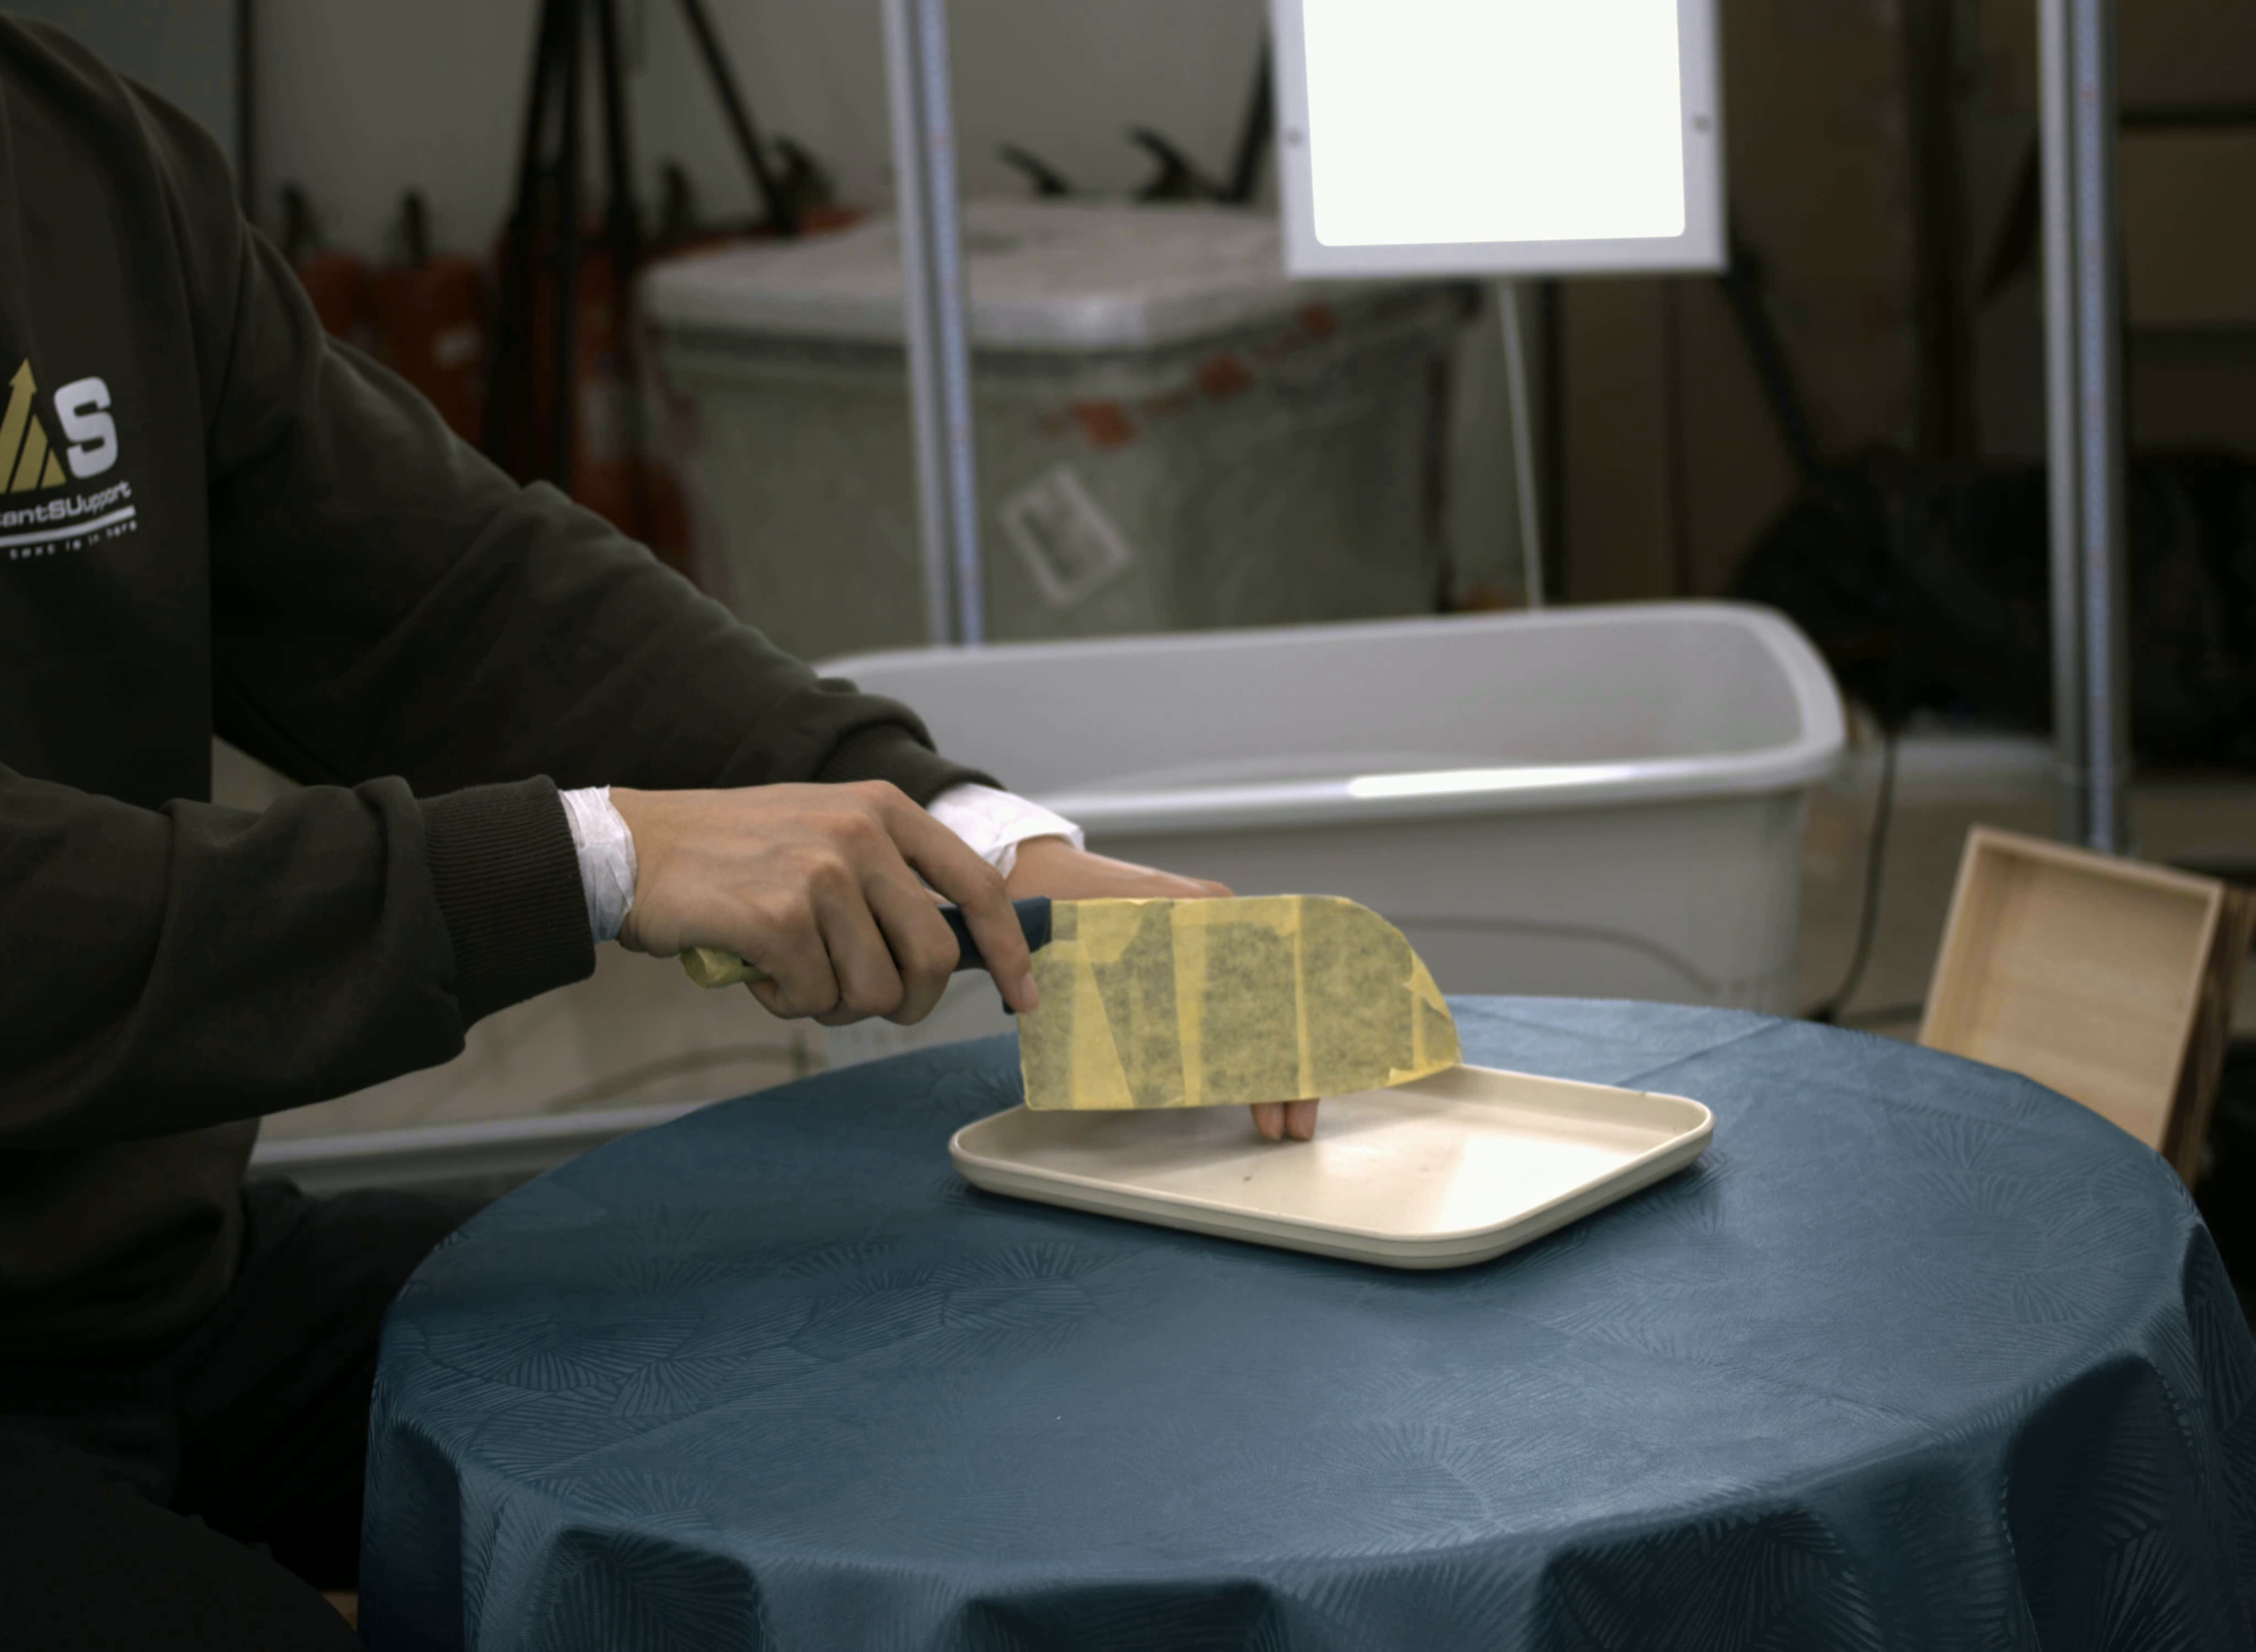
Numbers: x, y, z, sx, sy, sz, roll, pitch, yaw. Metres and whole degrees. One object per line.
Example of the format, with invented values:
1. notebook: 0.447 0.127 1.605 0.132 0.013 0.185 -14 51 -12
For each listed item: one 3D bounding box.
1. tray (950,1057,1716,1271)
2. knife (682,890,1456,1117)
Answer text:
1. tray: 0.070 0.112 1.900 0.245 0.017 0.167 7 18 41
2. knife: -0.016 0.060 1.899 0.284 0.081 0.027 2 -8 -20
